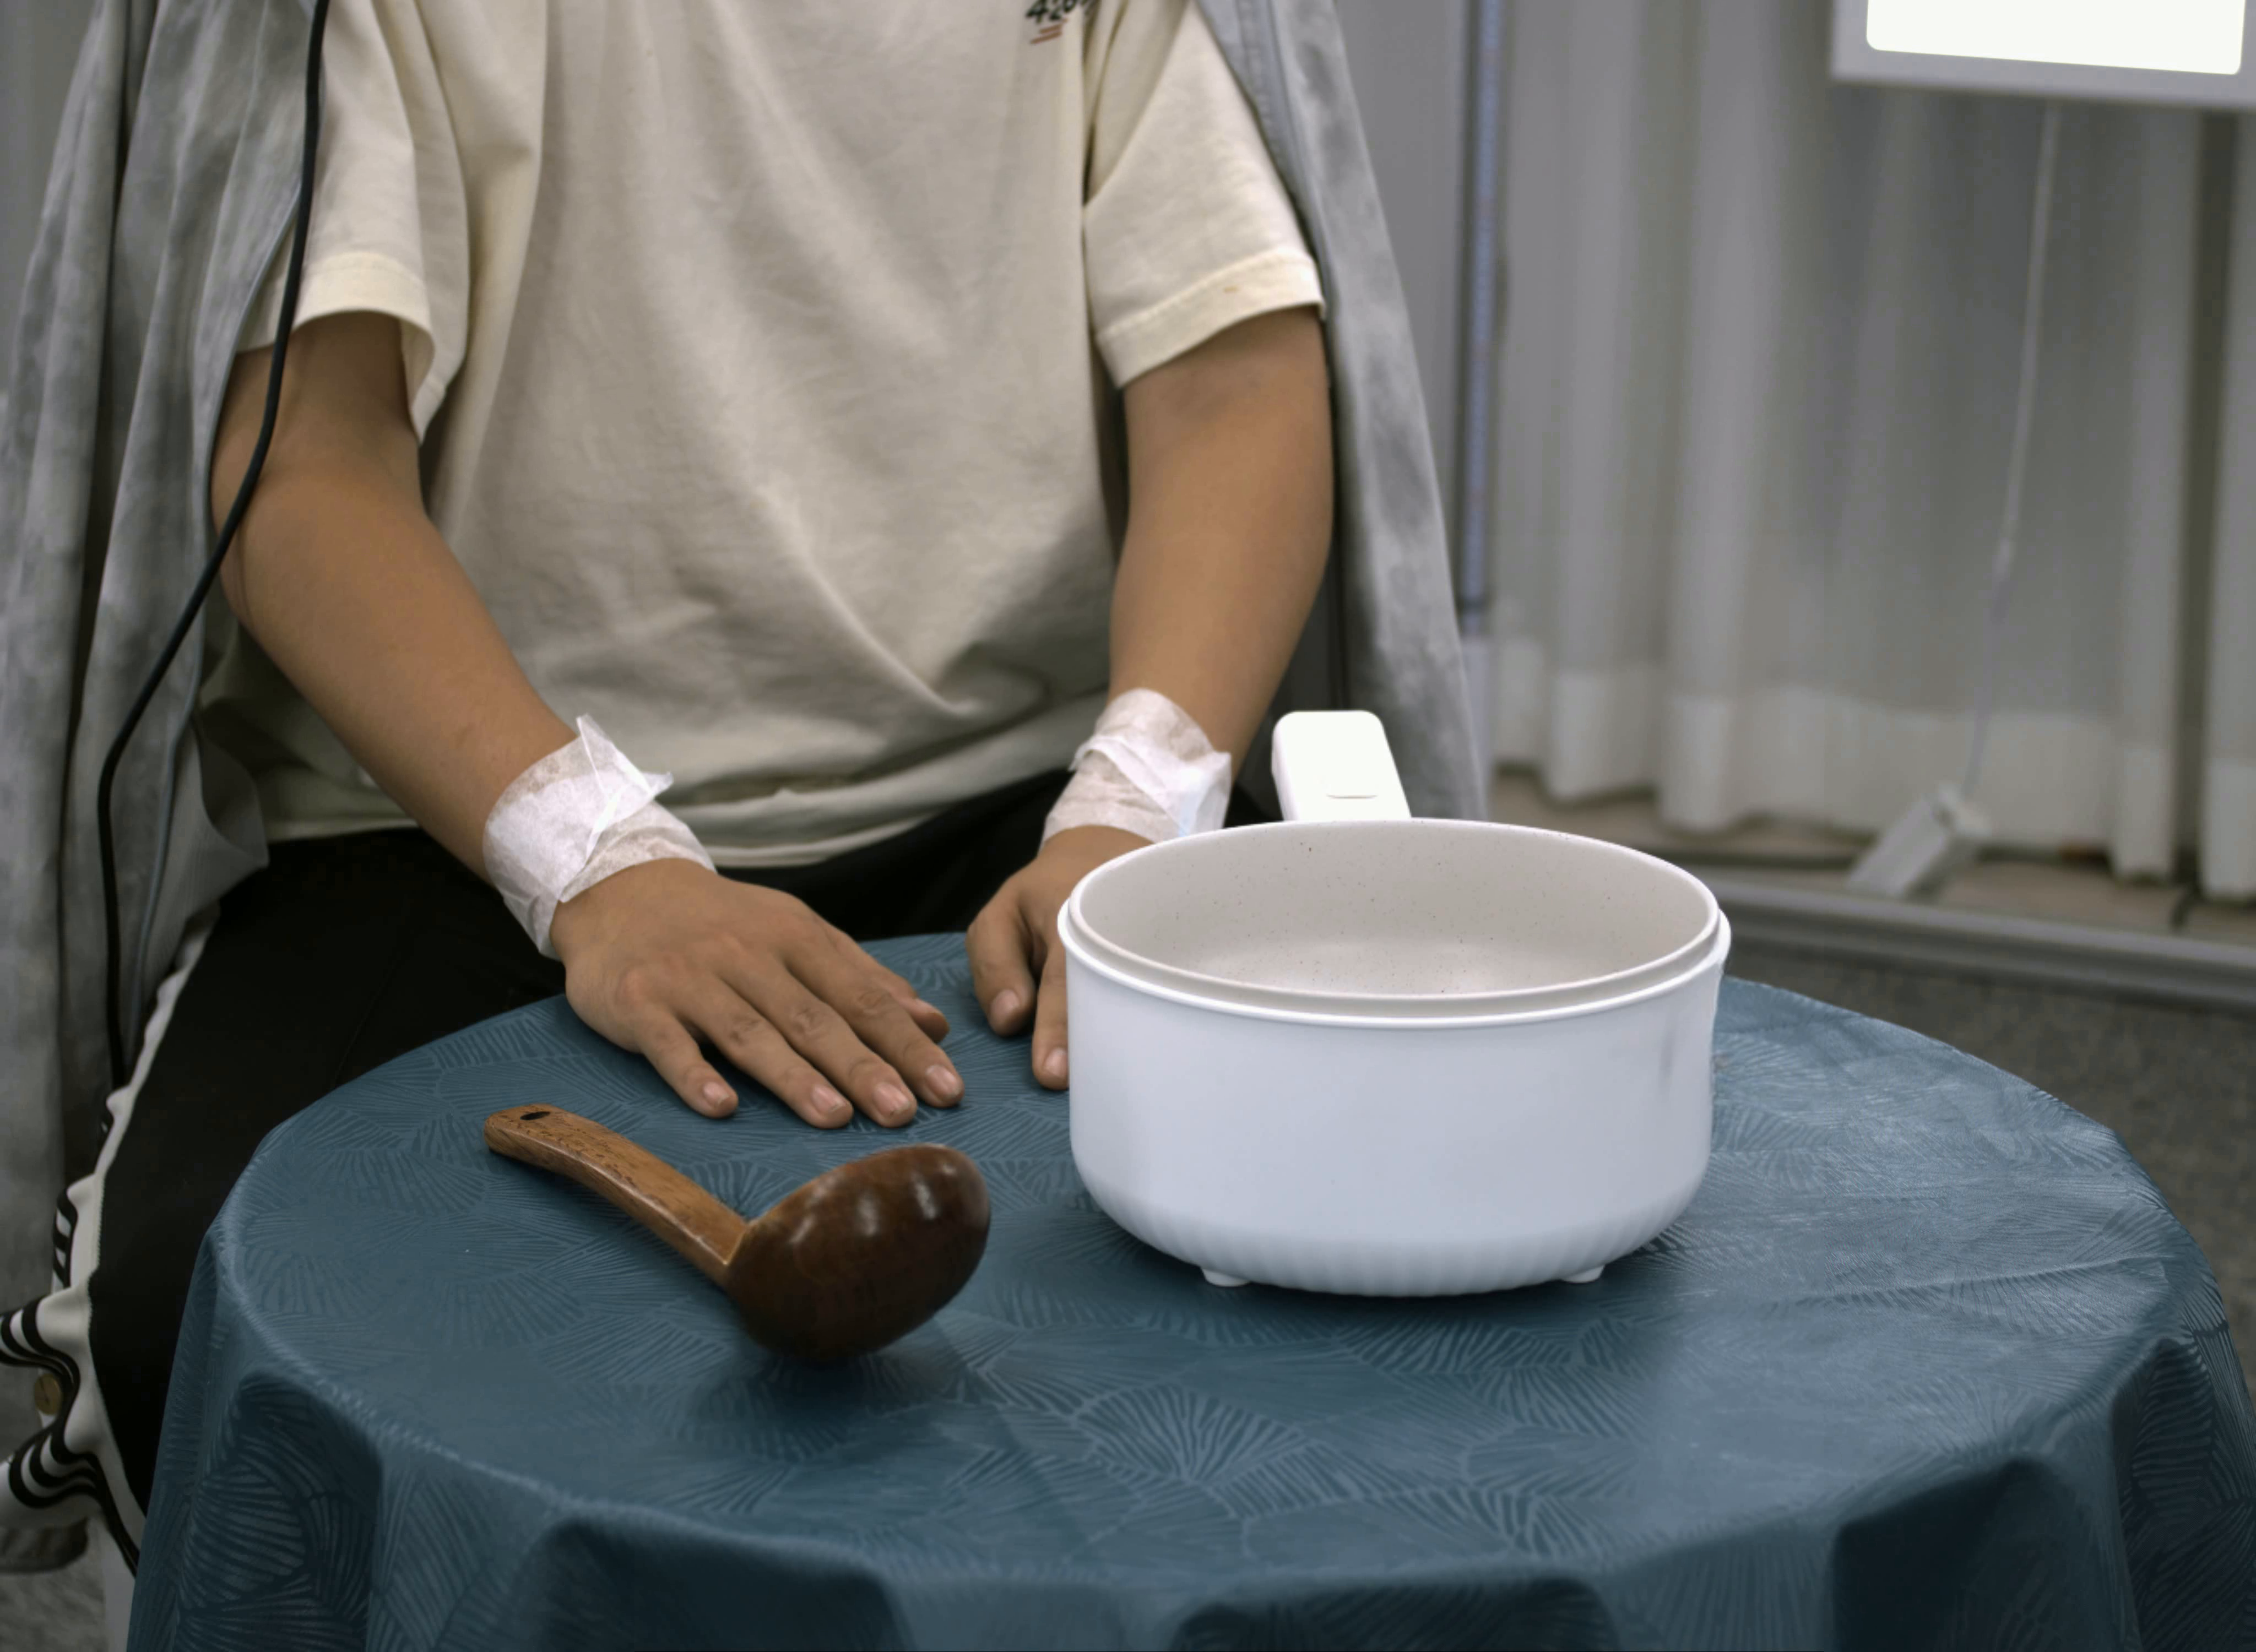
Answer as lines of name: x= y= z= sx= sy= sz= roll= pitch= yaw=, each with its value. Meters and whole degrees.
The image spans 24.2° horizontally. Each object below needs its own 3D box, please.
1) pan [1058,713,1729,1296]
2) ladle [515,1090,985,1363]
pan: x=0.077 y=0.052 z=1.663 sx=0.201 sy=0.103 sz=0.353 roll=-1 pitch=15 yaw=-2
ladle: x=-0.127 y=0.093 z=1.542 sx=0.082 sy=0.077 sz=0.270 roll=-9 pitch=19 yaw=-27
